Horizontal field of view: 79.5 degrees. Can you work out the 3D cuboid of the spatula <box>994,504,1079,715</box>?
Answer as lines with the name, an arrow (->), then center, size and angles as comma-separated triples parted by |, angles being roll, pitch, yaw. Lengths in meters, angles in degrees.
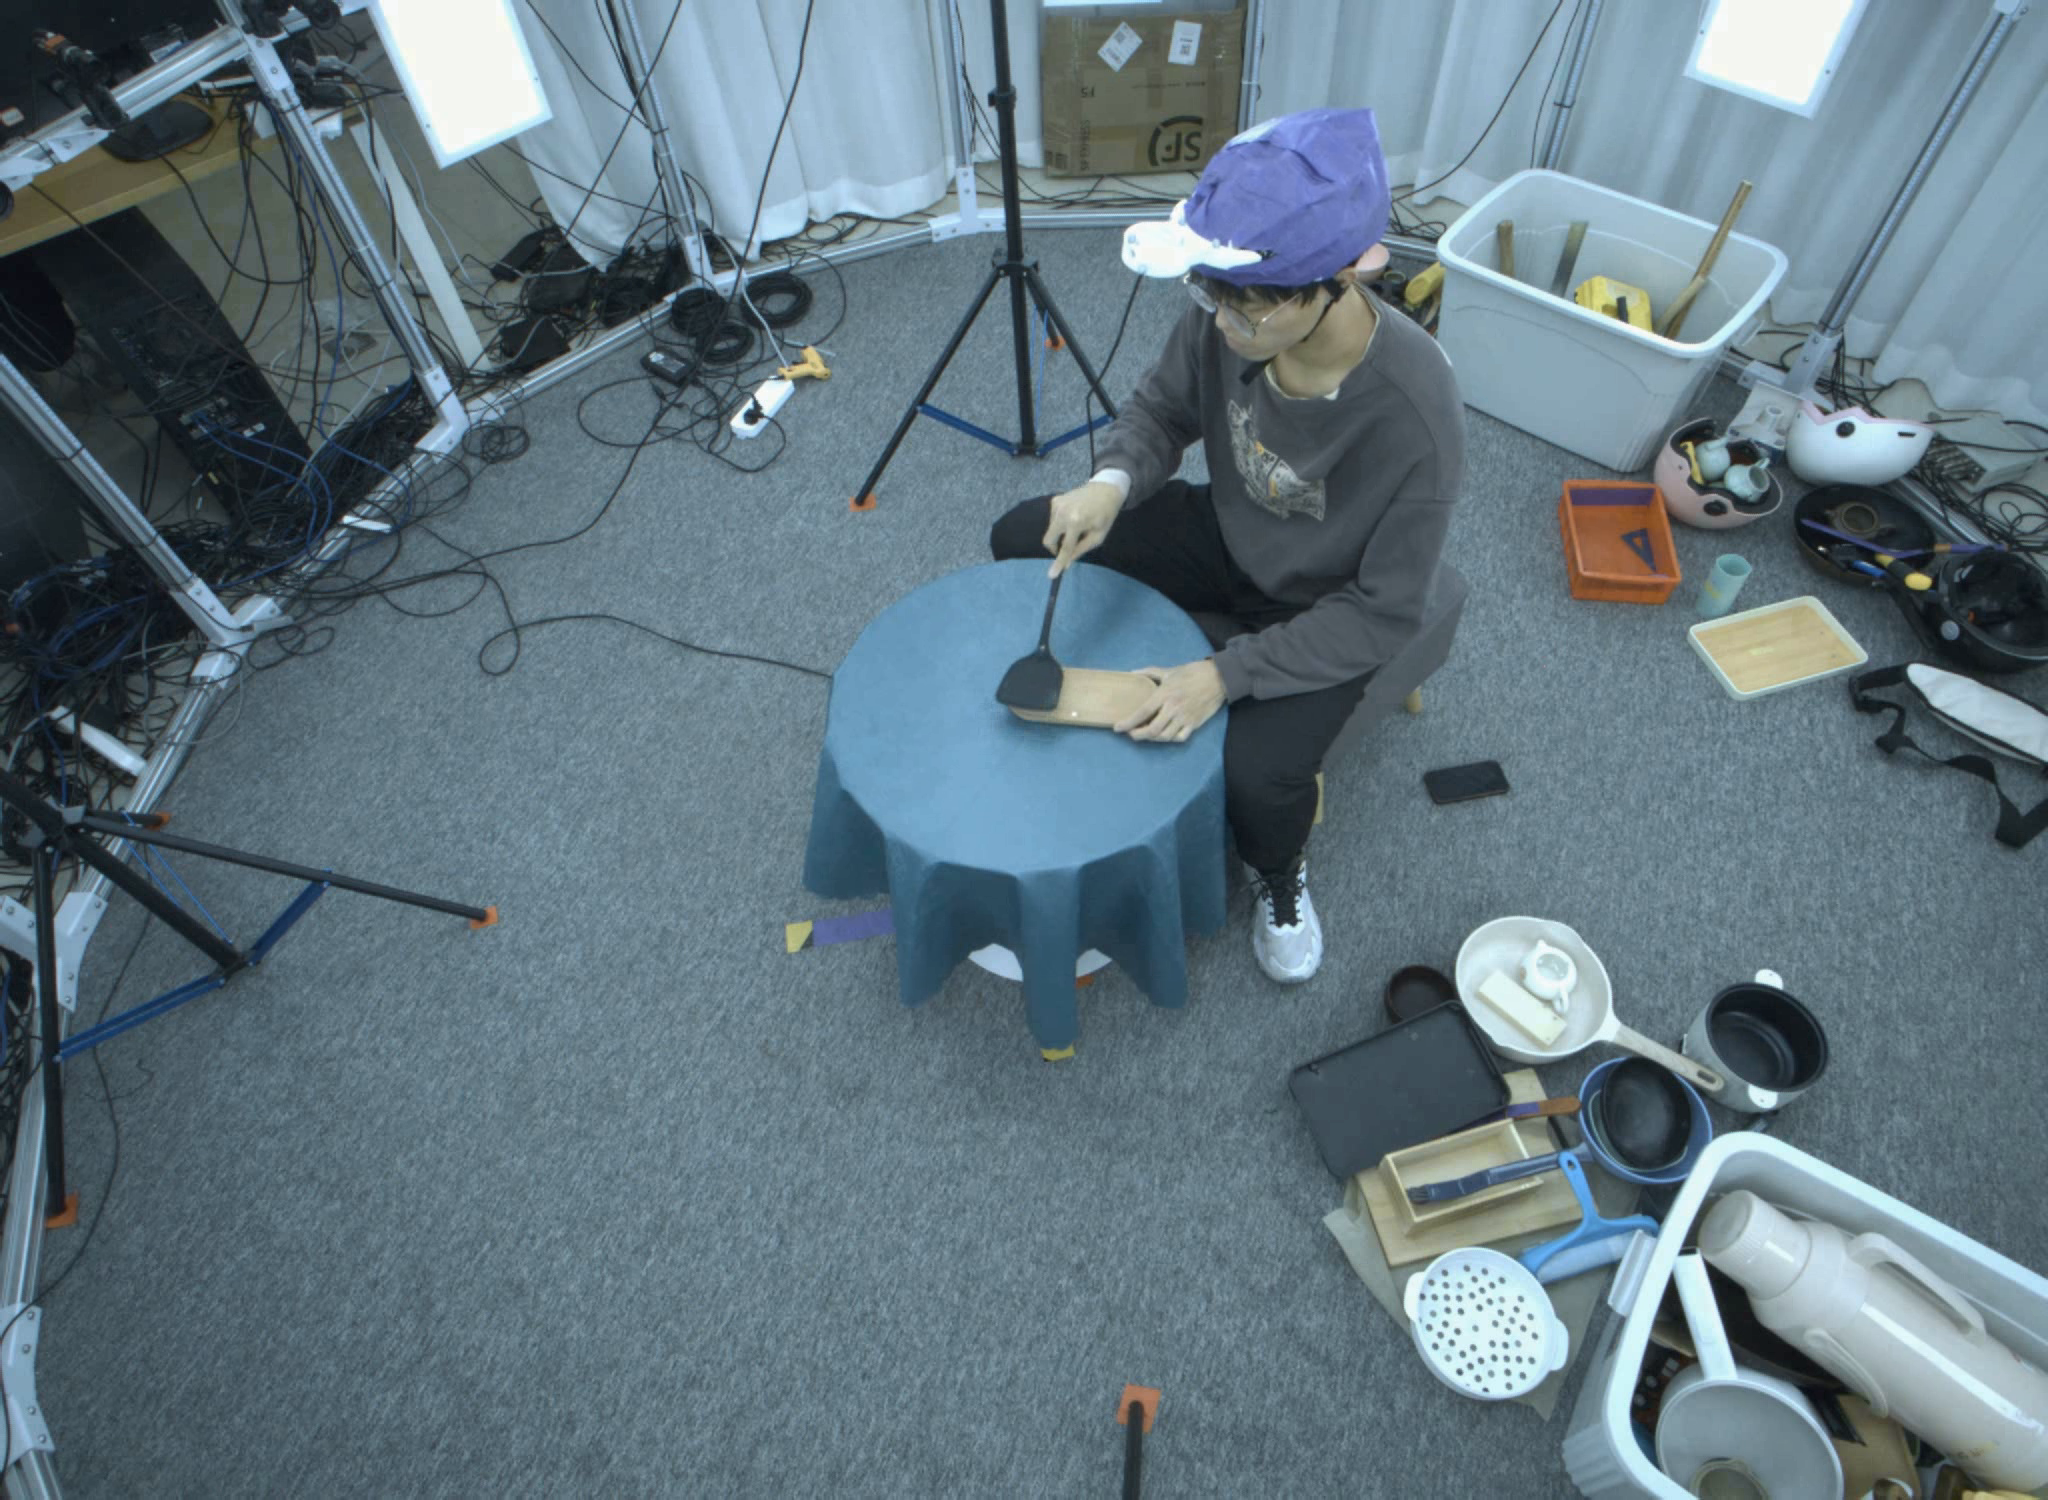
spatula -> 0.036, -0.210, 1.802 | 0.098, 0.041, 0.326 | 11, 86, 16

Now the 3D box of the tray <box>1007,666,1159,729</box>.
tray -> 0.085, -0.078, 1.828 | 0.230, 0.020, 0.101 | 4, 53, 7
